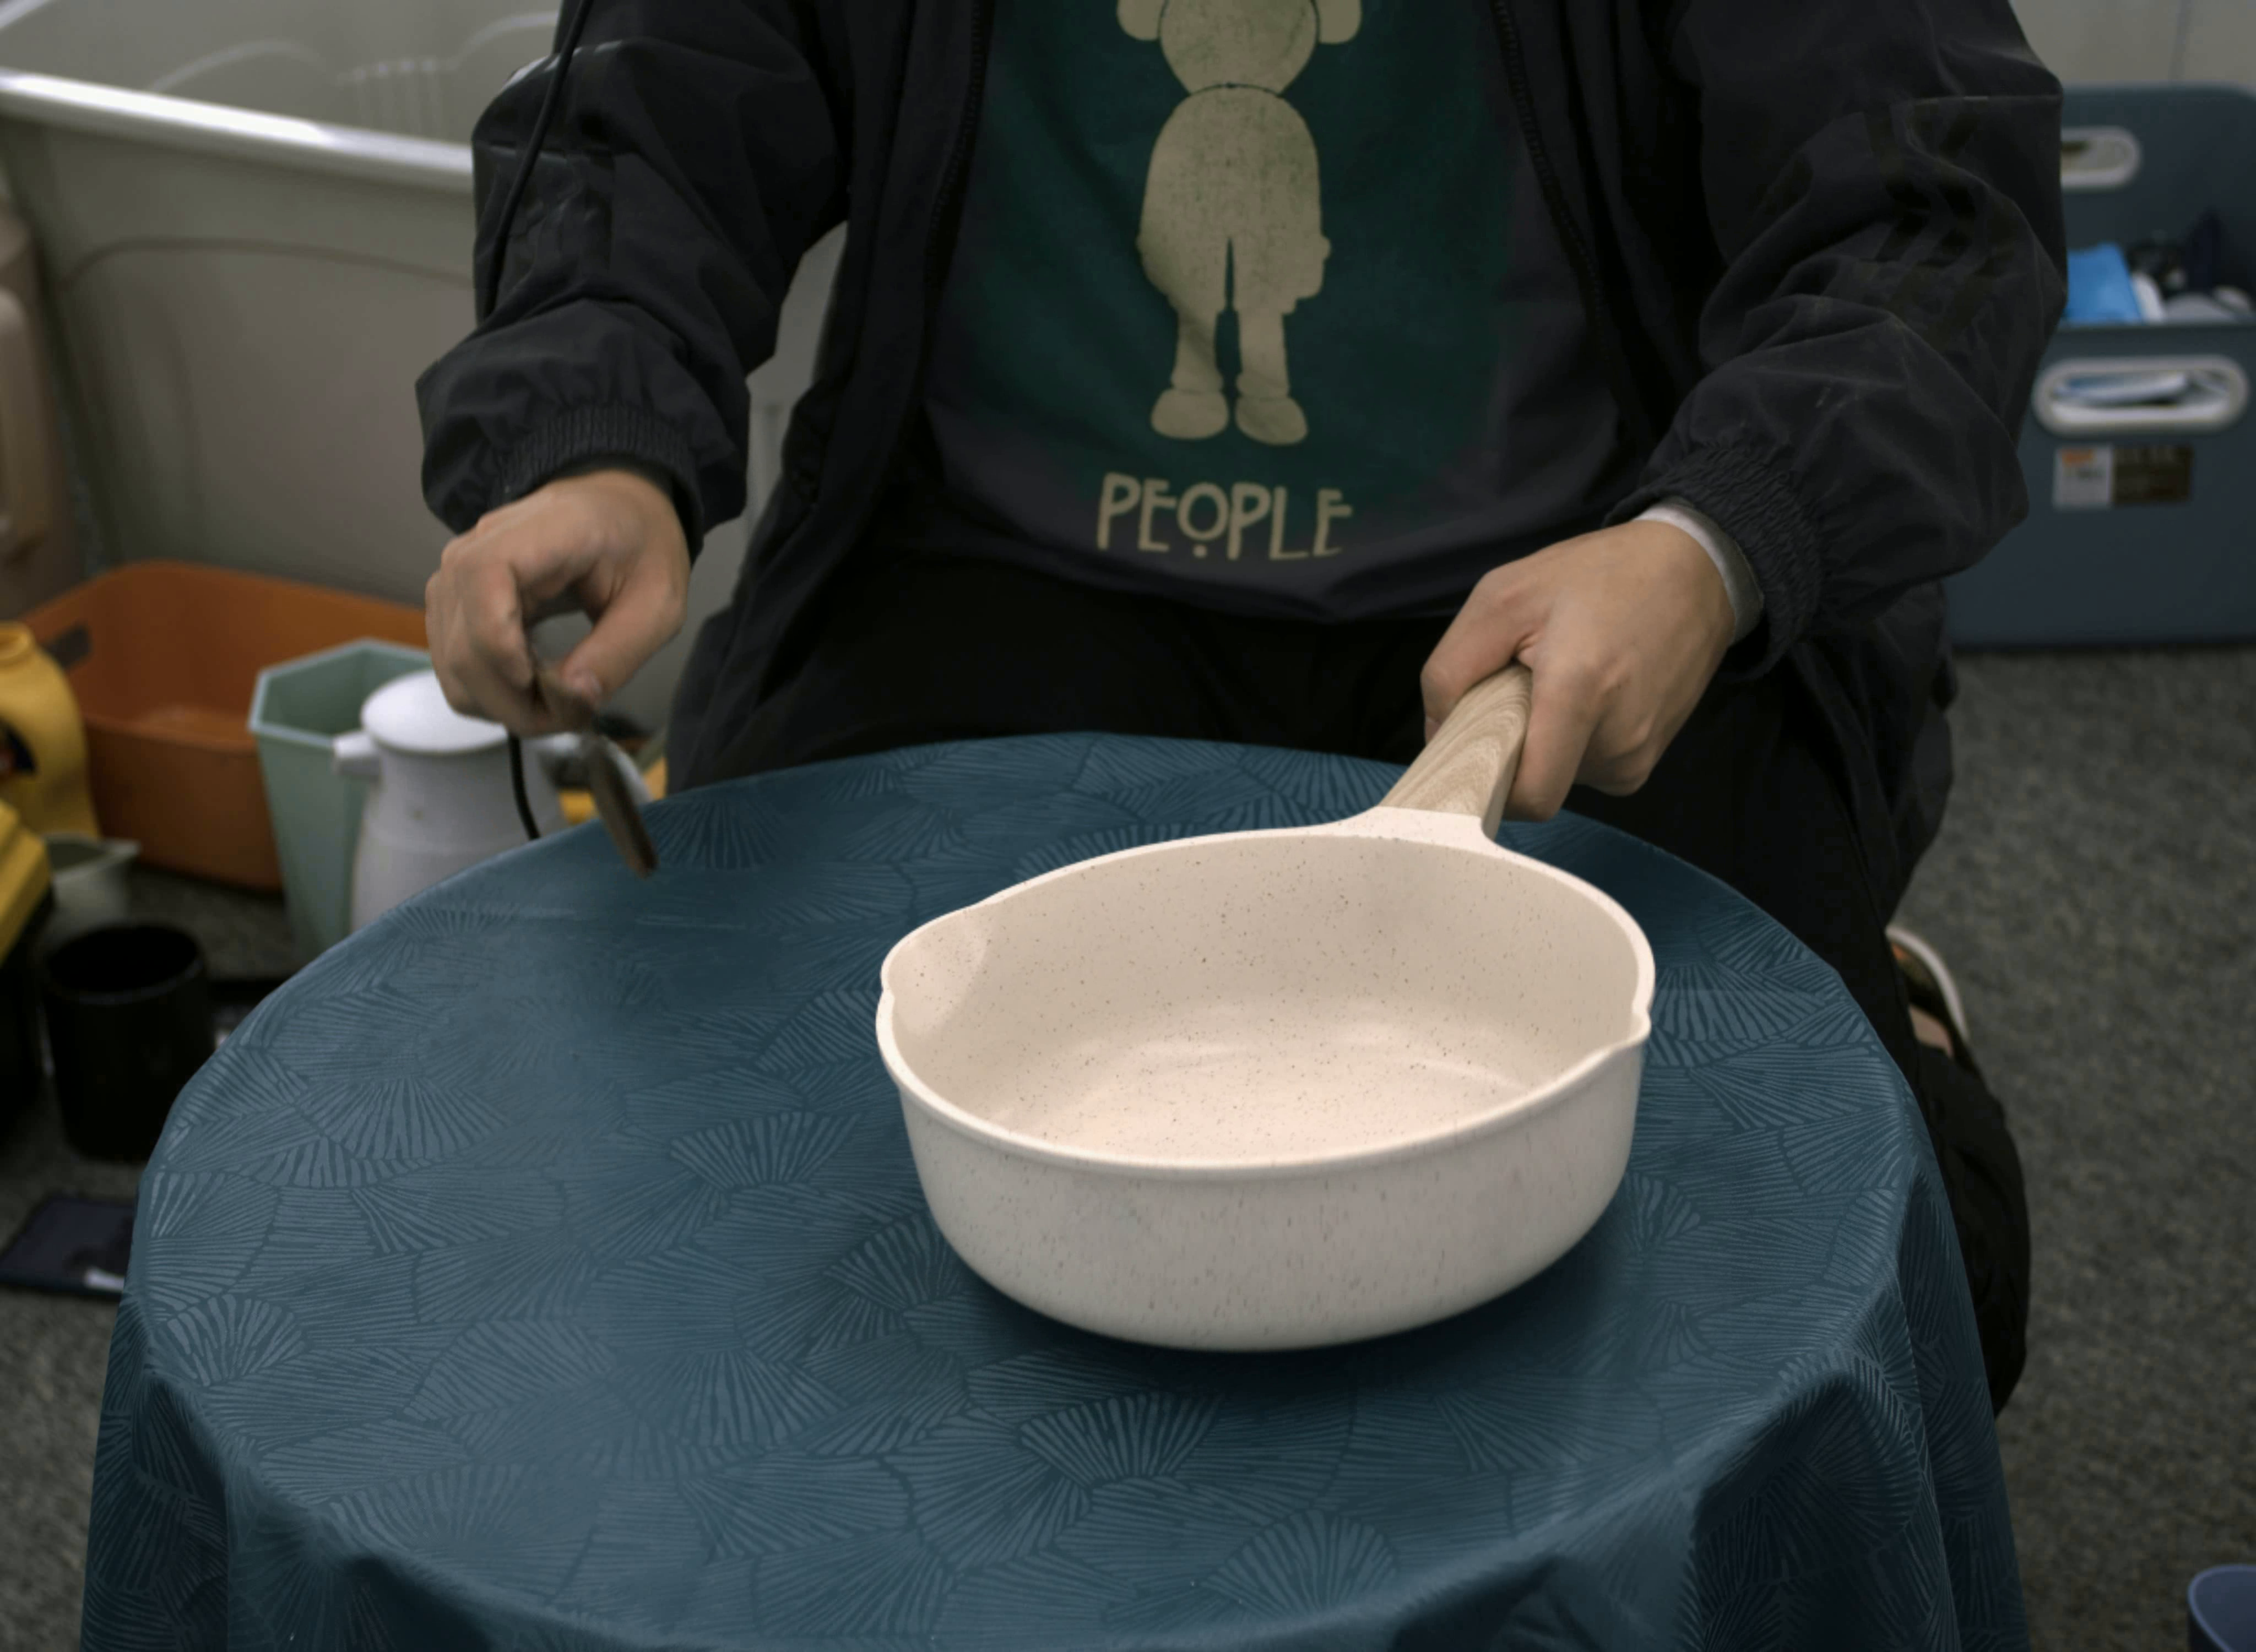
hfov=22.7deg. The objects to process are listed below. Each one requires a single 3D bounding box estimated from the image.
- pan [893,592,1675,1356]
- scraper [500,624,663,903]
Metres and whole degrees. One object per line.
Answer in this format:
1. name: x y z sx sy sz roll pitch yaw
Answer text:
1. pan: 0.089 0.047 1.887 0.261 0.101 0.442 5 25 24
2. scraper: -0.193 -0.032 1.916 0.011 0.075 0.212 -26 21 -6
